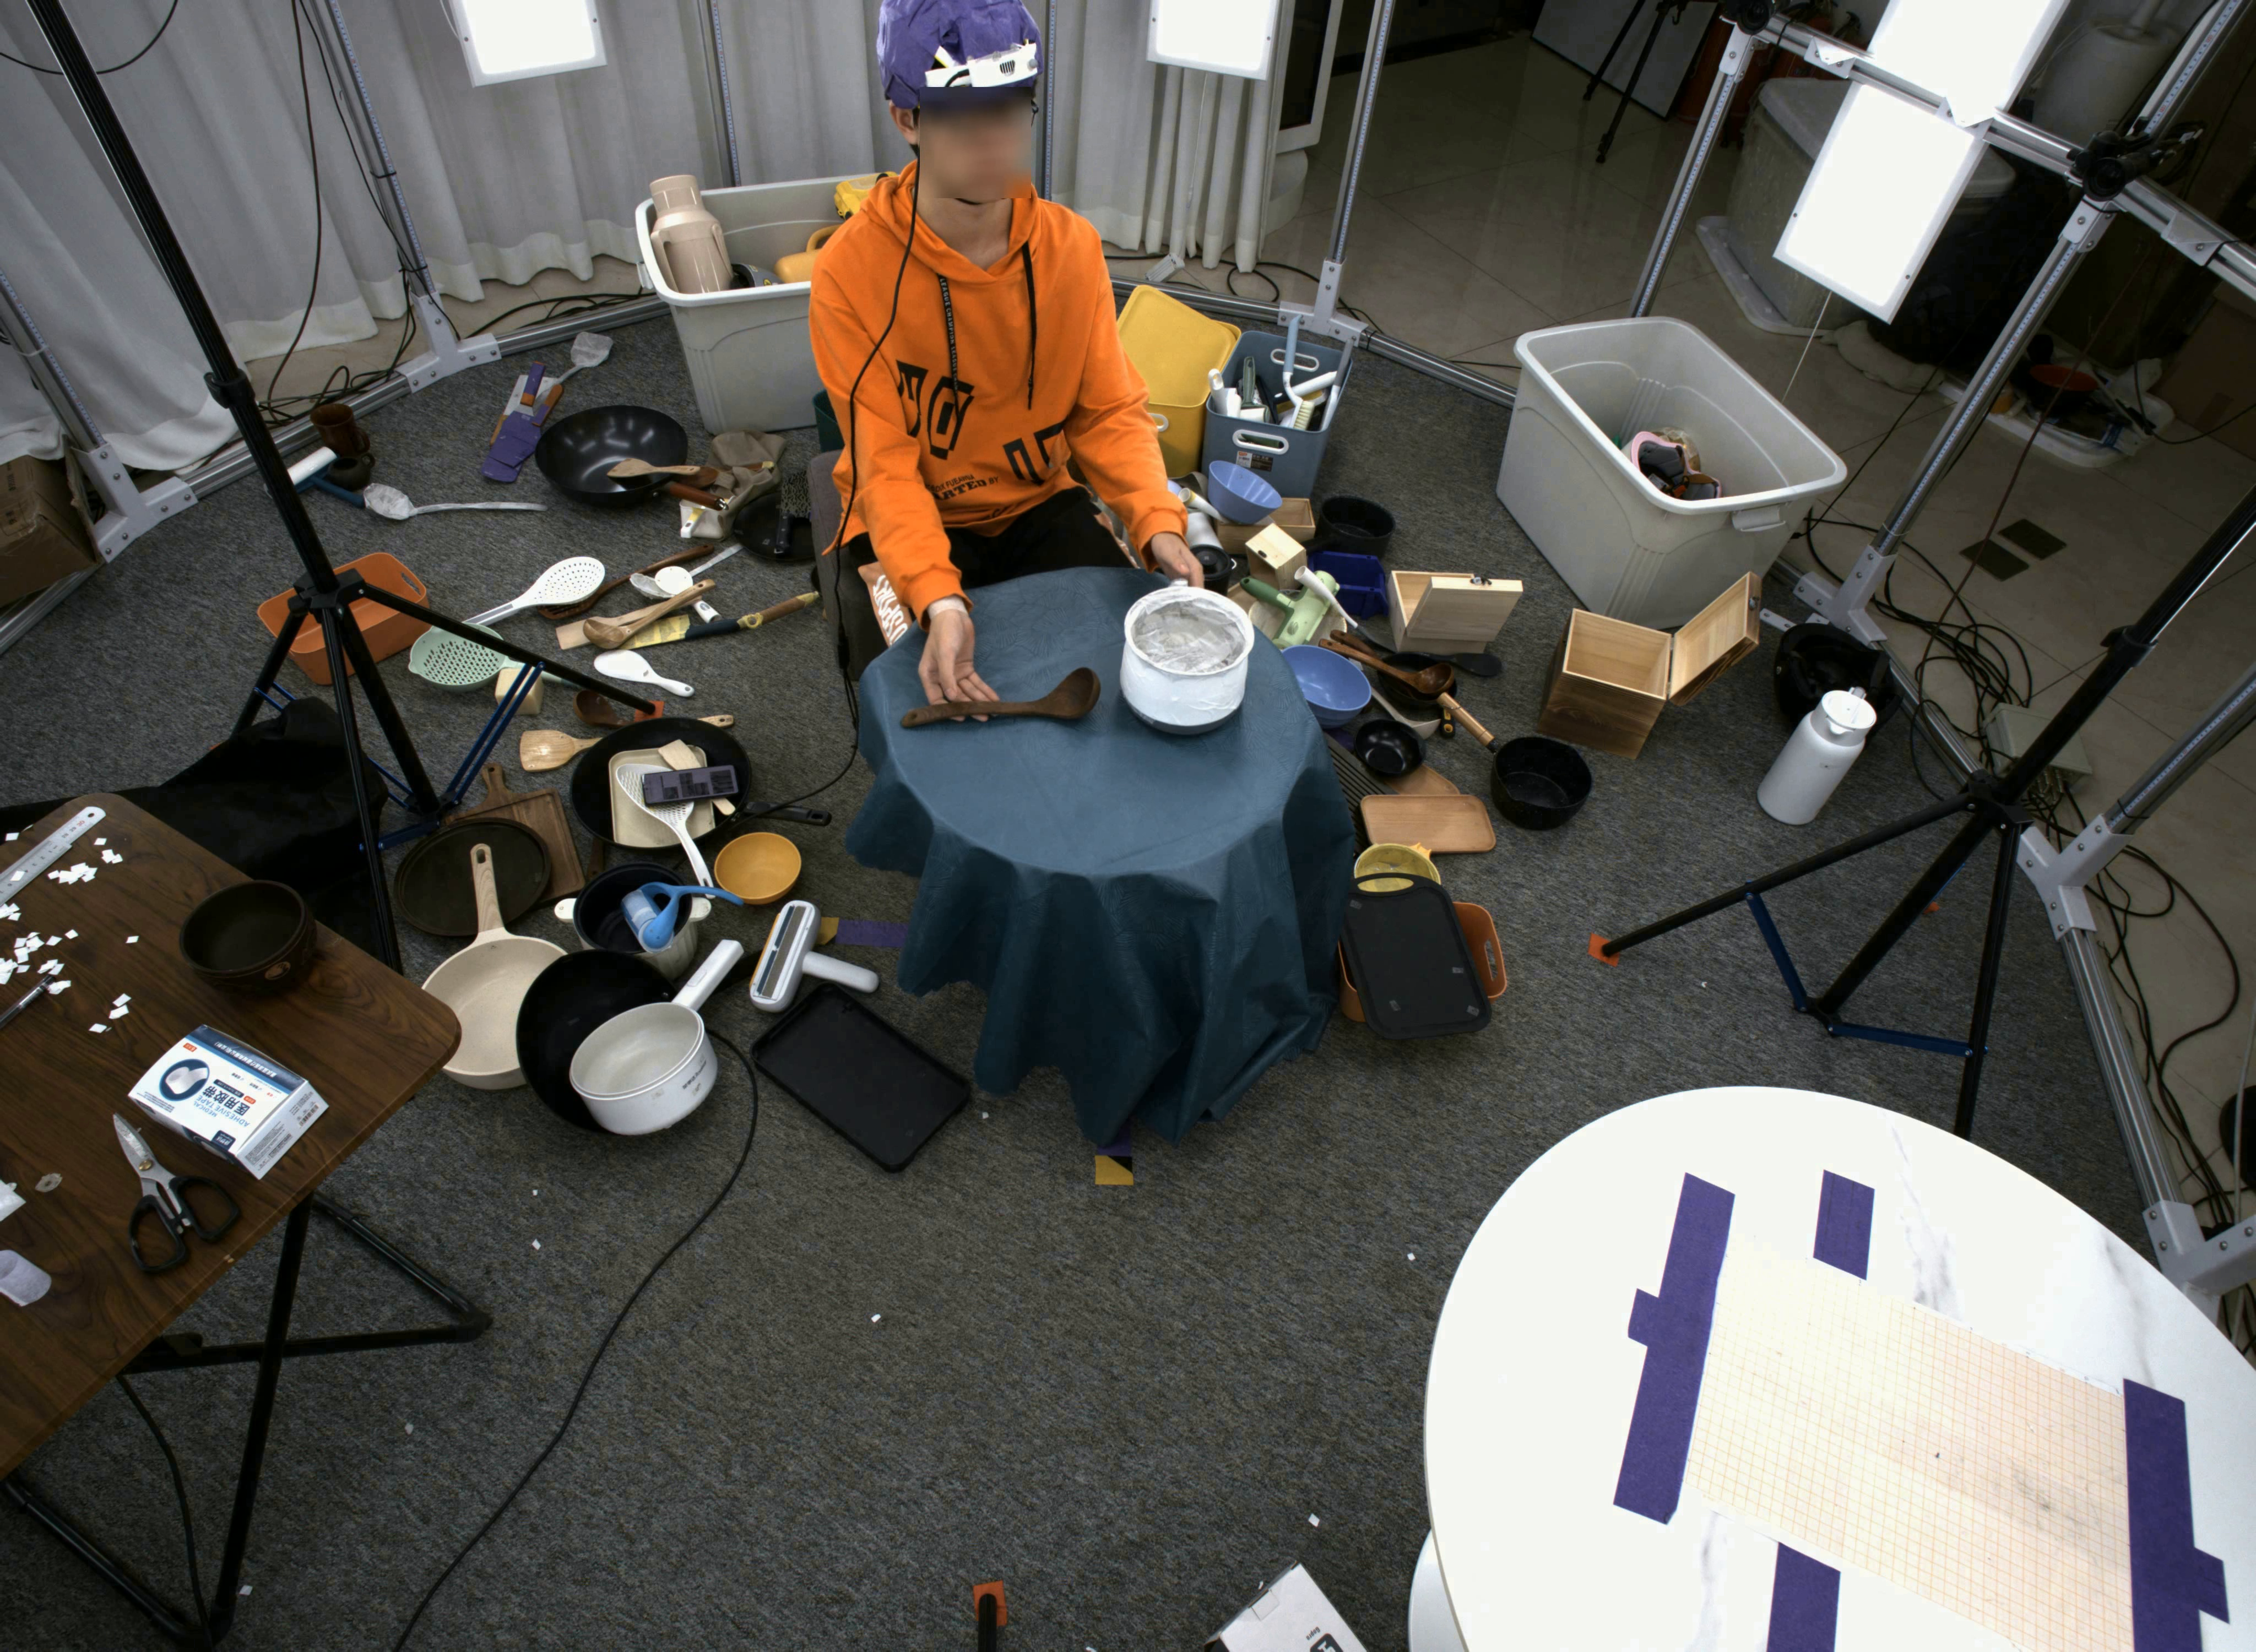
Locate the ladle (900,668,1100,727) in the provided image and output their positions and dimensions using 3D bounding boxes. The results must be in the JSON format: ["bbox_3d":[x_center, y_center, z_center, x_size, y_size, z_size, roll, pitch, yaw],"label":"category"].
[{"bbox_3d":[-0.175,-0.175,1.763,0.274,0.069,0.078,-4,50,-8],"label":"ladle"}]

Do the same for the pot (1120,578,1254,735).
[{"bbox_3d":[0.076,-0.247,1.799,0.178,0.133,0.239,-2,50,-7],"label":"pot"}]
